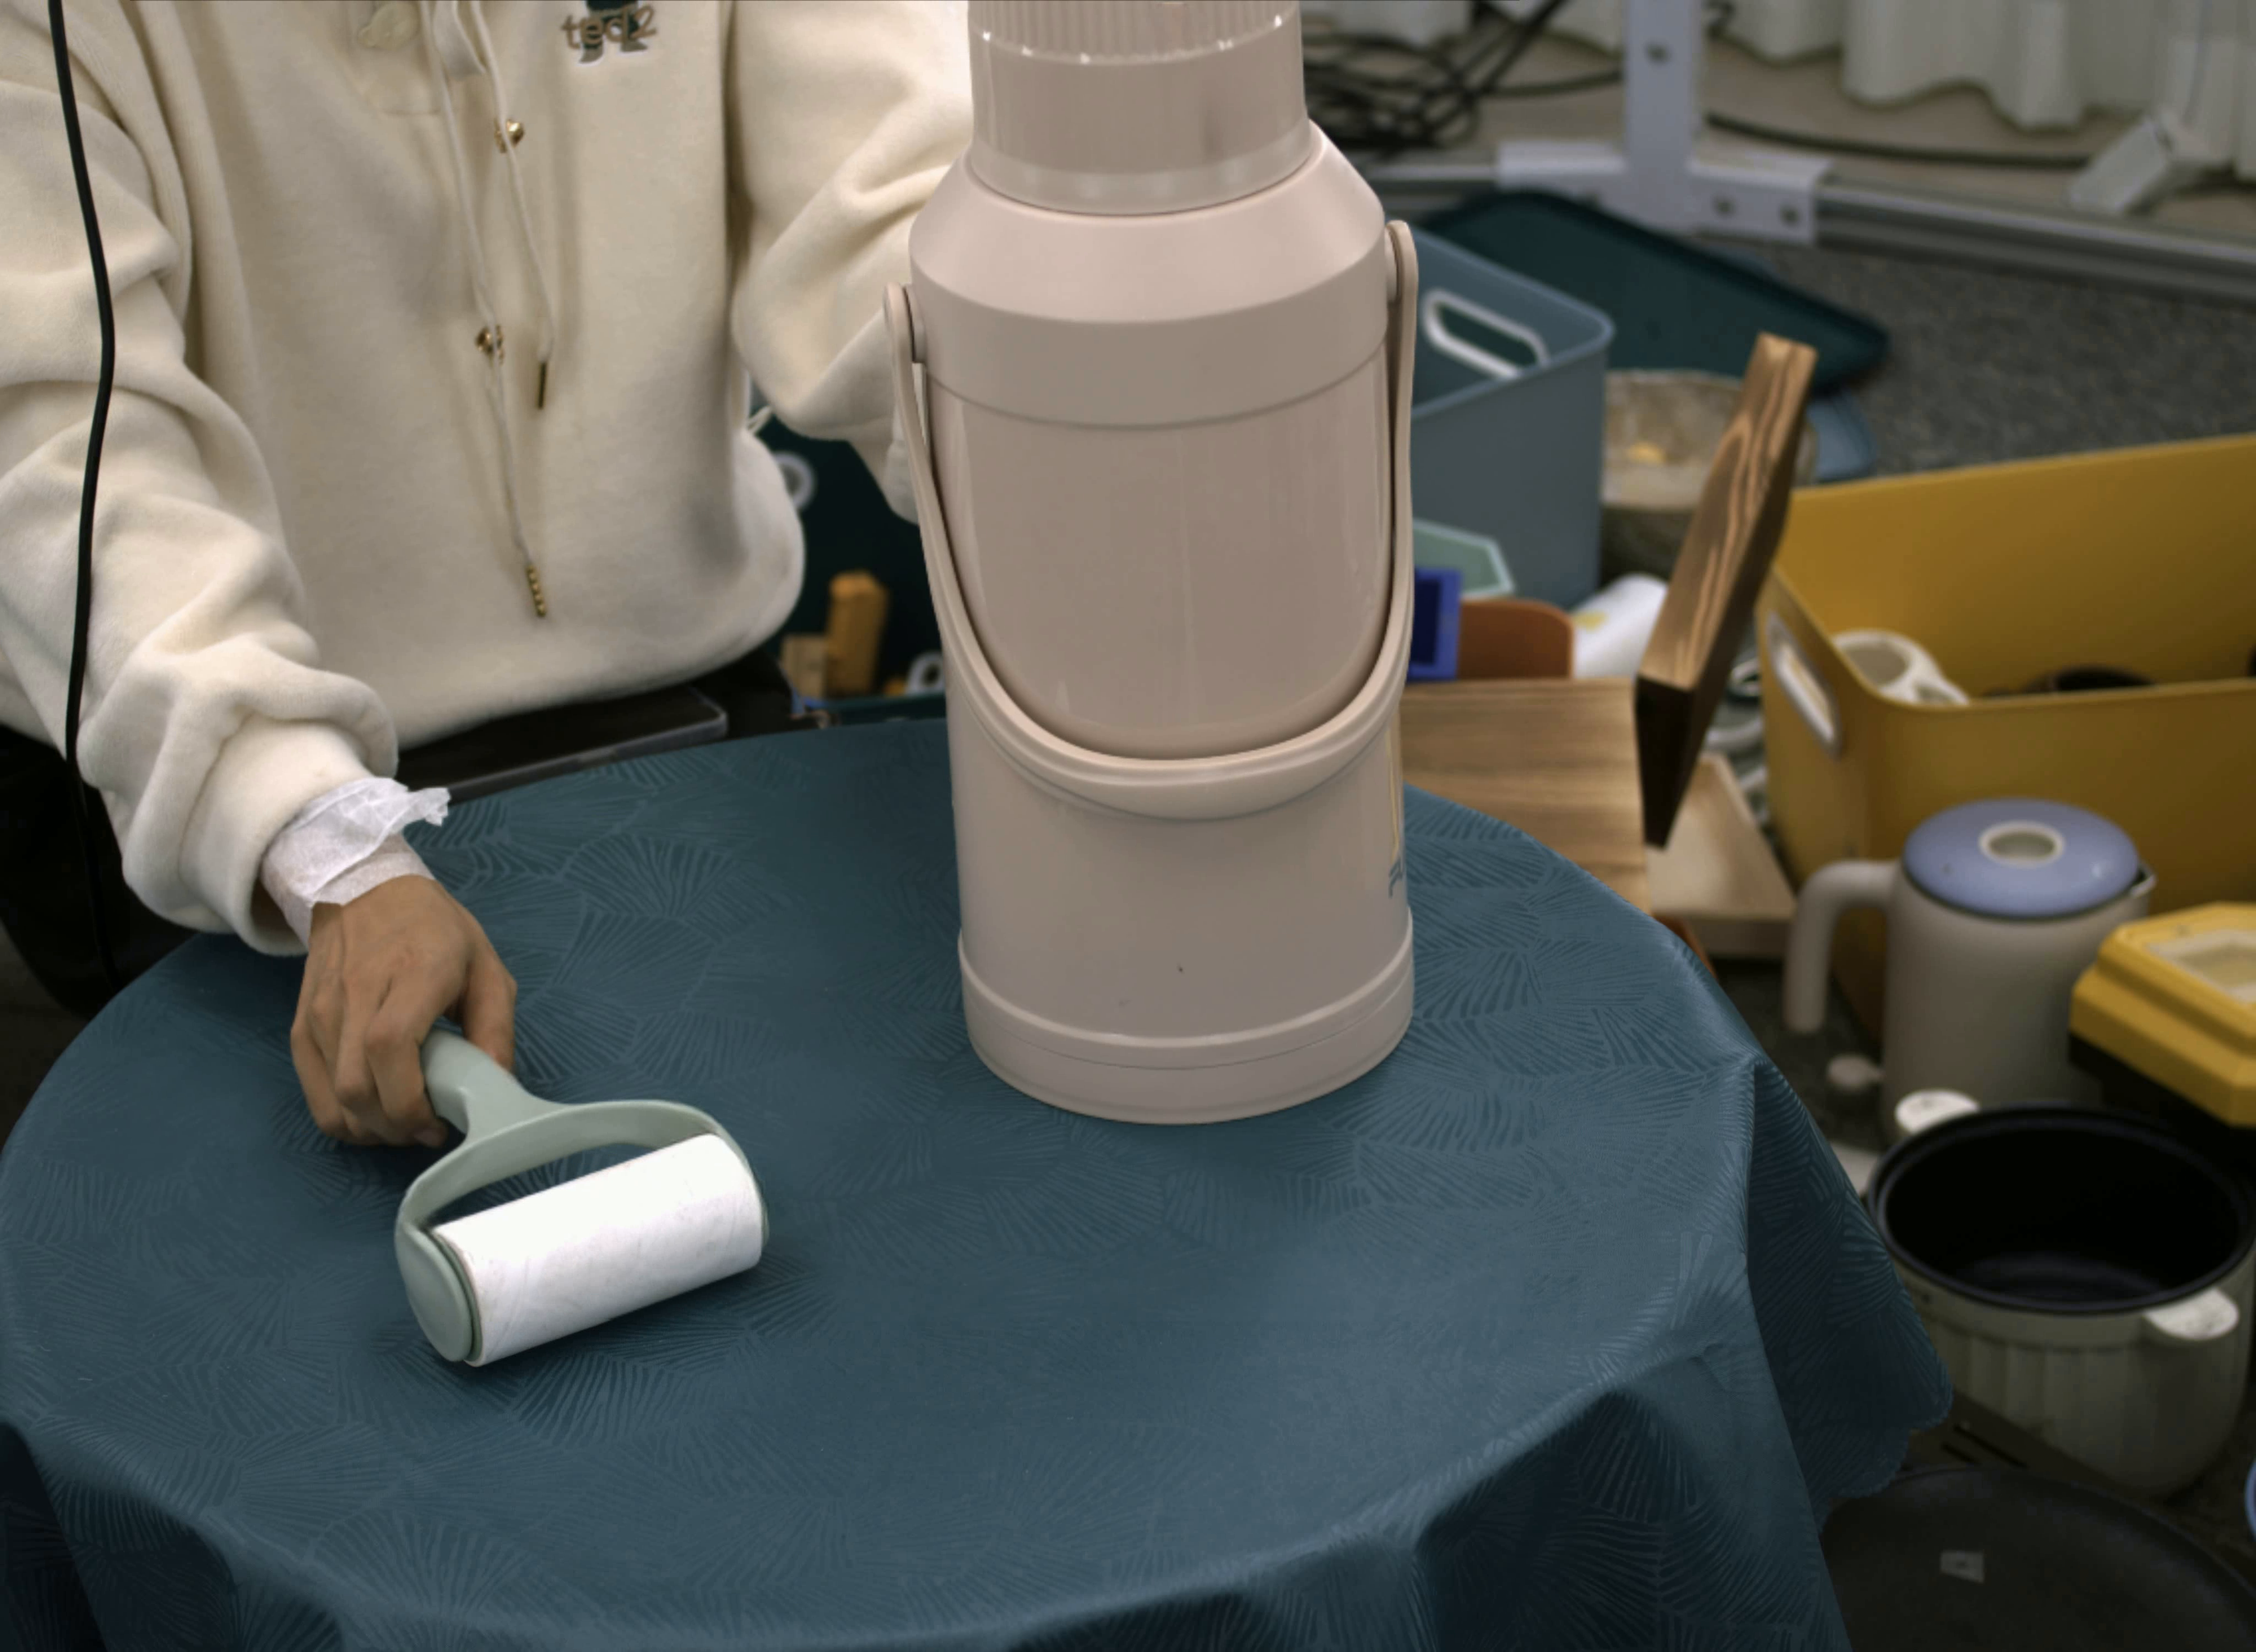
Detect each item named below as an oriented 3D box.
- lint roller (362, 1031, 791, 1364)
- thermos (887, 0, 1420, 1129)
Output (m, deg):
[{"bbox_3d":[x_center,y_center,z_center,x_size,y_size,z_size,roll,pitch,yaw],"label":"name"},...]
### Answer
[{"bbox_3d":[-0.203,0.104,1.858,0.117,0.048,0.198,-20,35,-25],"label":"lint roller"},{"bbox_3d":[0.010,-0.116,1.894,0.175,0.402,0.209,-8,26,-8],"label":"thermos"}]
